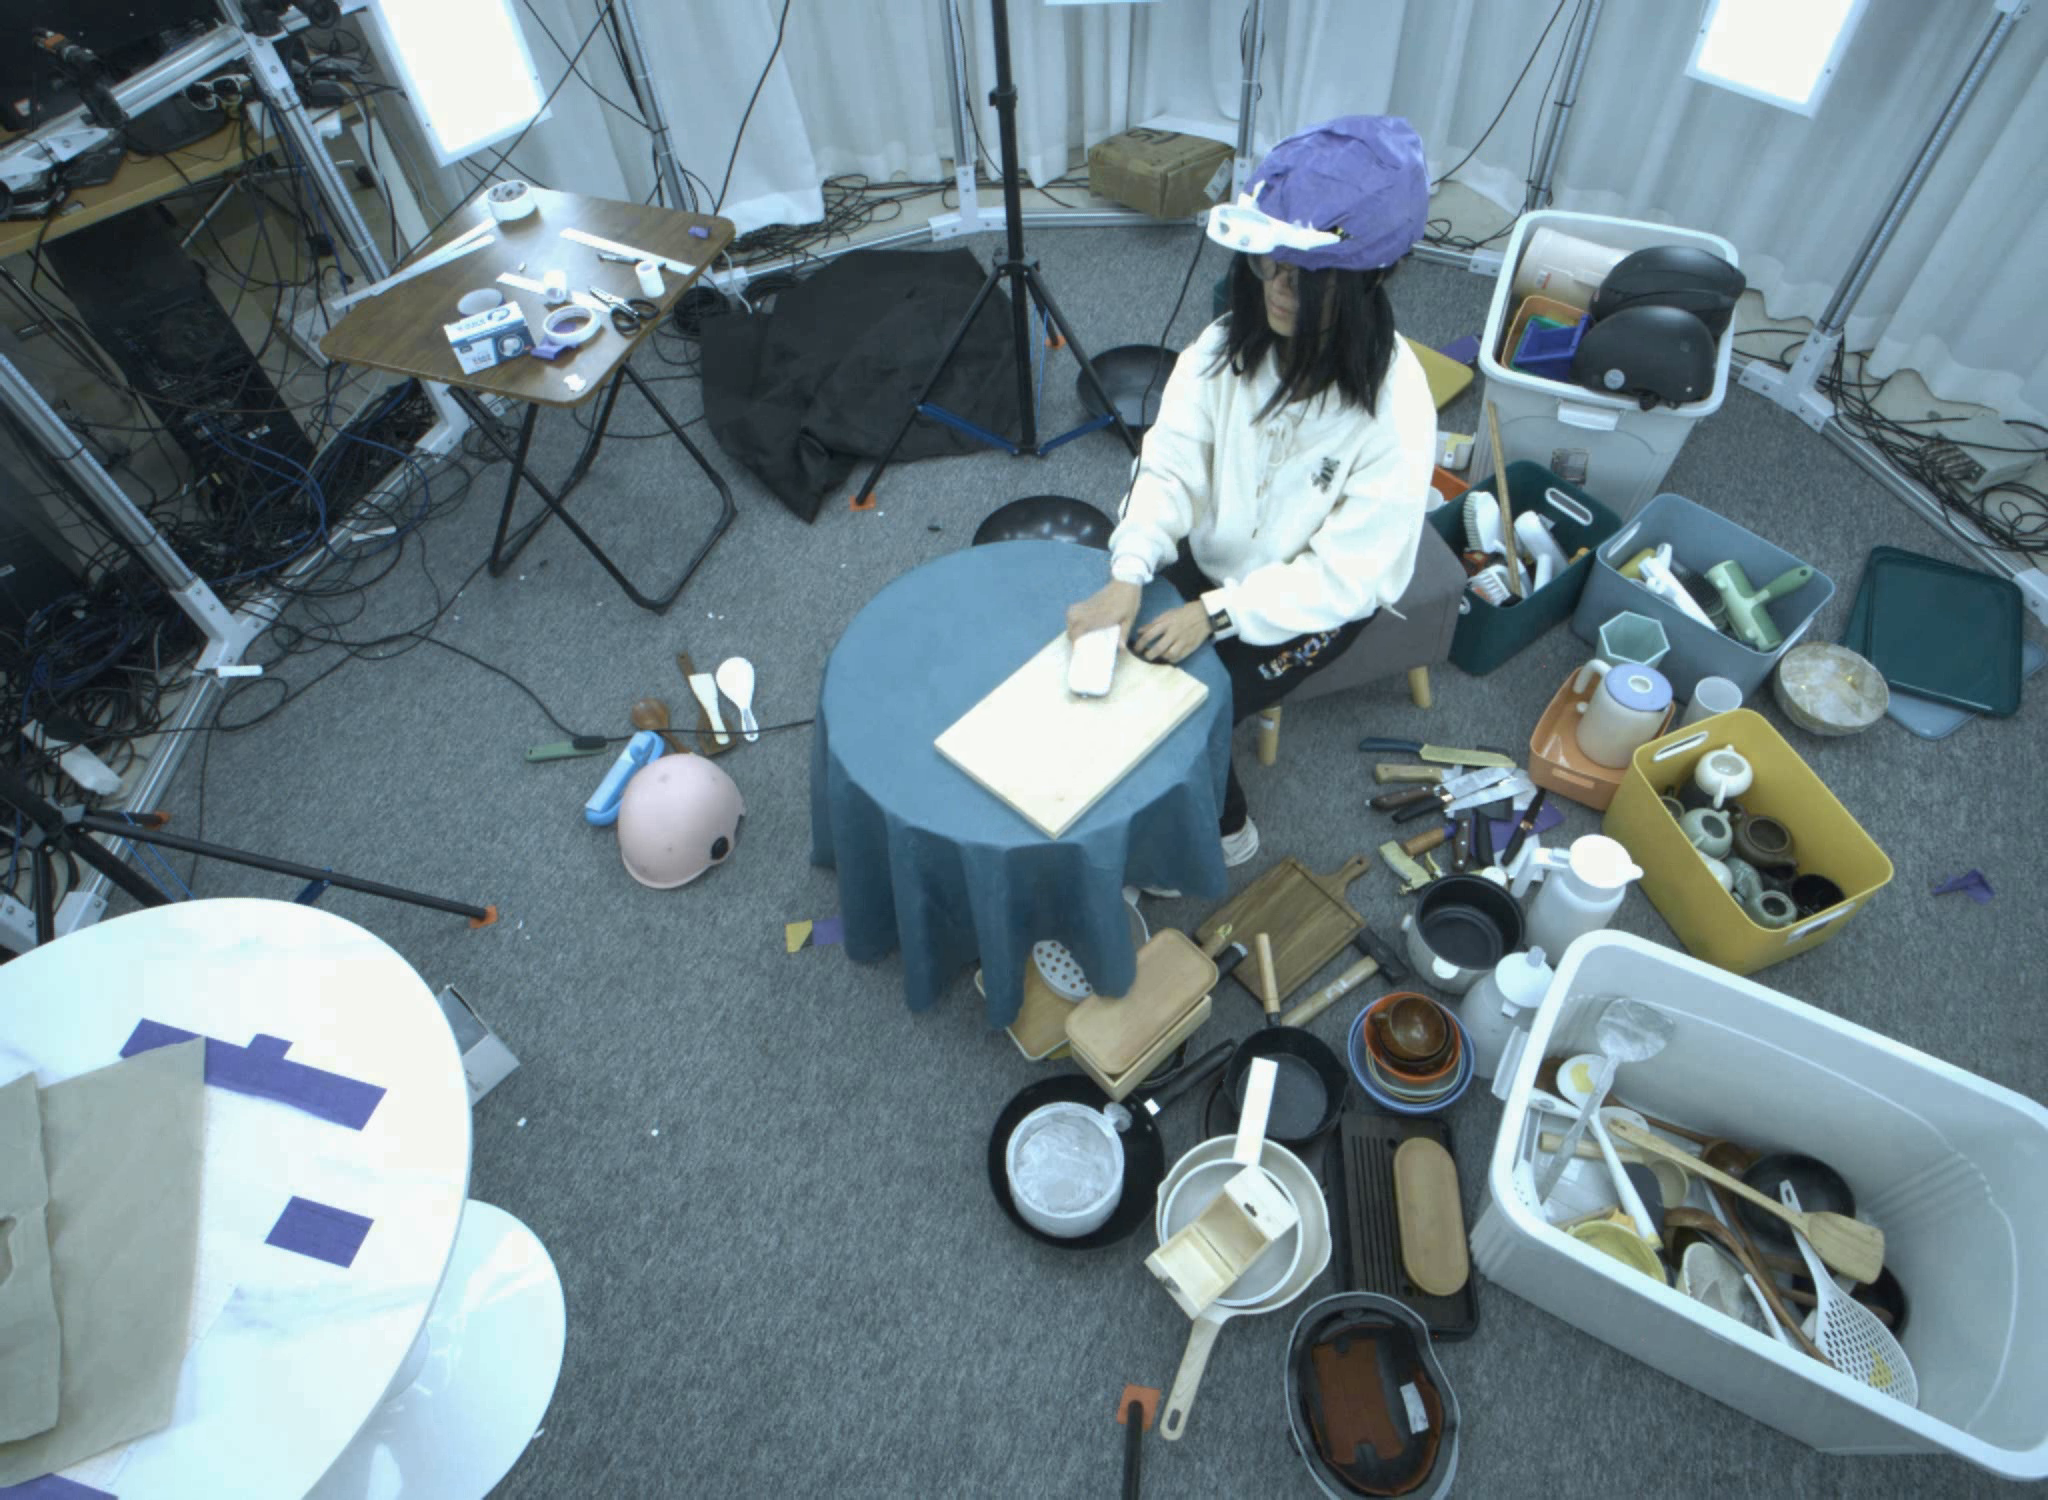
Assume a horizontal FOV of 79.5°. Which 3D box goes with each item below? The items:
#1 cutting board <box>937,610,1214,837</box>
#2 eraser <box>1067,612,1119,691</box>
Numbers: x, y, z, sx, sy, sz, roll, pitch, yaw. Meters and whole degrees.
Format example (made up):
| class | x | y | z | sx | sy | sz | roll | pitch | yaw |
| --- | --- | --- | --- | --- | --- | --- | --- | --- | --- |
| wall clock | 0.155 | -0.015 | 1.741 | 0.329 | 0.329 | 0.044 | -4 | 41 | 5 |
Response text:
| class | x | y | z | sx | sy | sz | roll | pitch | yaw |
| --- | --- | --- | --- | --- | --- | --- | --- | --- | --- |
| cutting board | 0.076 | -0.049 | 1.810 | 0.246 | 0.024 | 0.351 | 36 | 63 | 24 |
| eraser | 0.105 | -0.148 | 1.837 | 0.063 | 0.035 | 0.130 | 8 | 60 | 10 |
